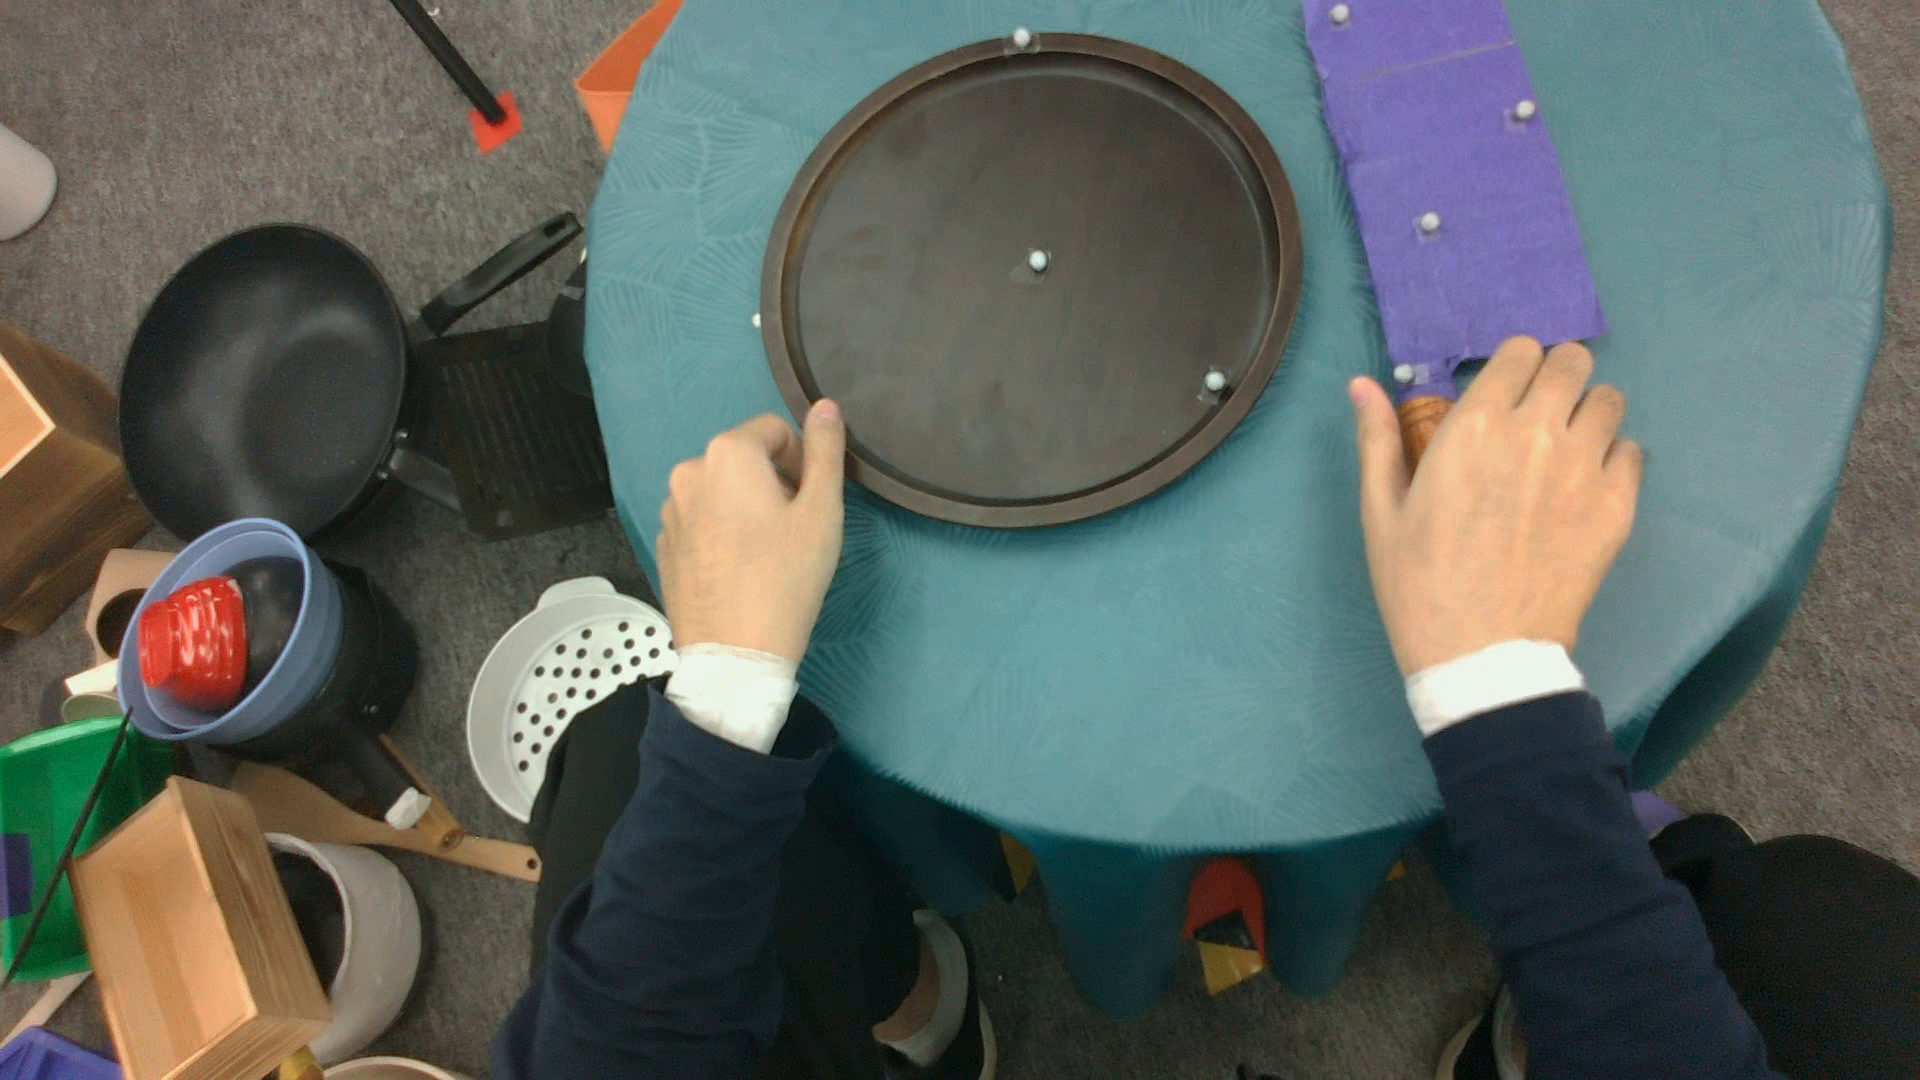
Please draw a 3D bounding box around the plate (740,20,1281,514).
[{"bbox_3d":[0.021,-0.131,0.645,0.254,0.029,0.255,-3,71,9],"label":"plate"}]

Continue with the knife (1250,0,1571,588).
[{"bbox_3d":[0.213,-0.136,0.612,0.104,0.032,0.316,-11,70,6],"label":"knife"}]
